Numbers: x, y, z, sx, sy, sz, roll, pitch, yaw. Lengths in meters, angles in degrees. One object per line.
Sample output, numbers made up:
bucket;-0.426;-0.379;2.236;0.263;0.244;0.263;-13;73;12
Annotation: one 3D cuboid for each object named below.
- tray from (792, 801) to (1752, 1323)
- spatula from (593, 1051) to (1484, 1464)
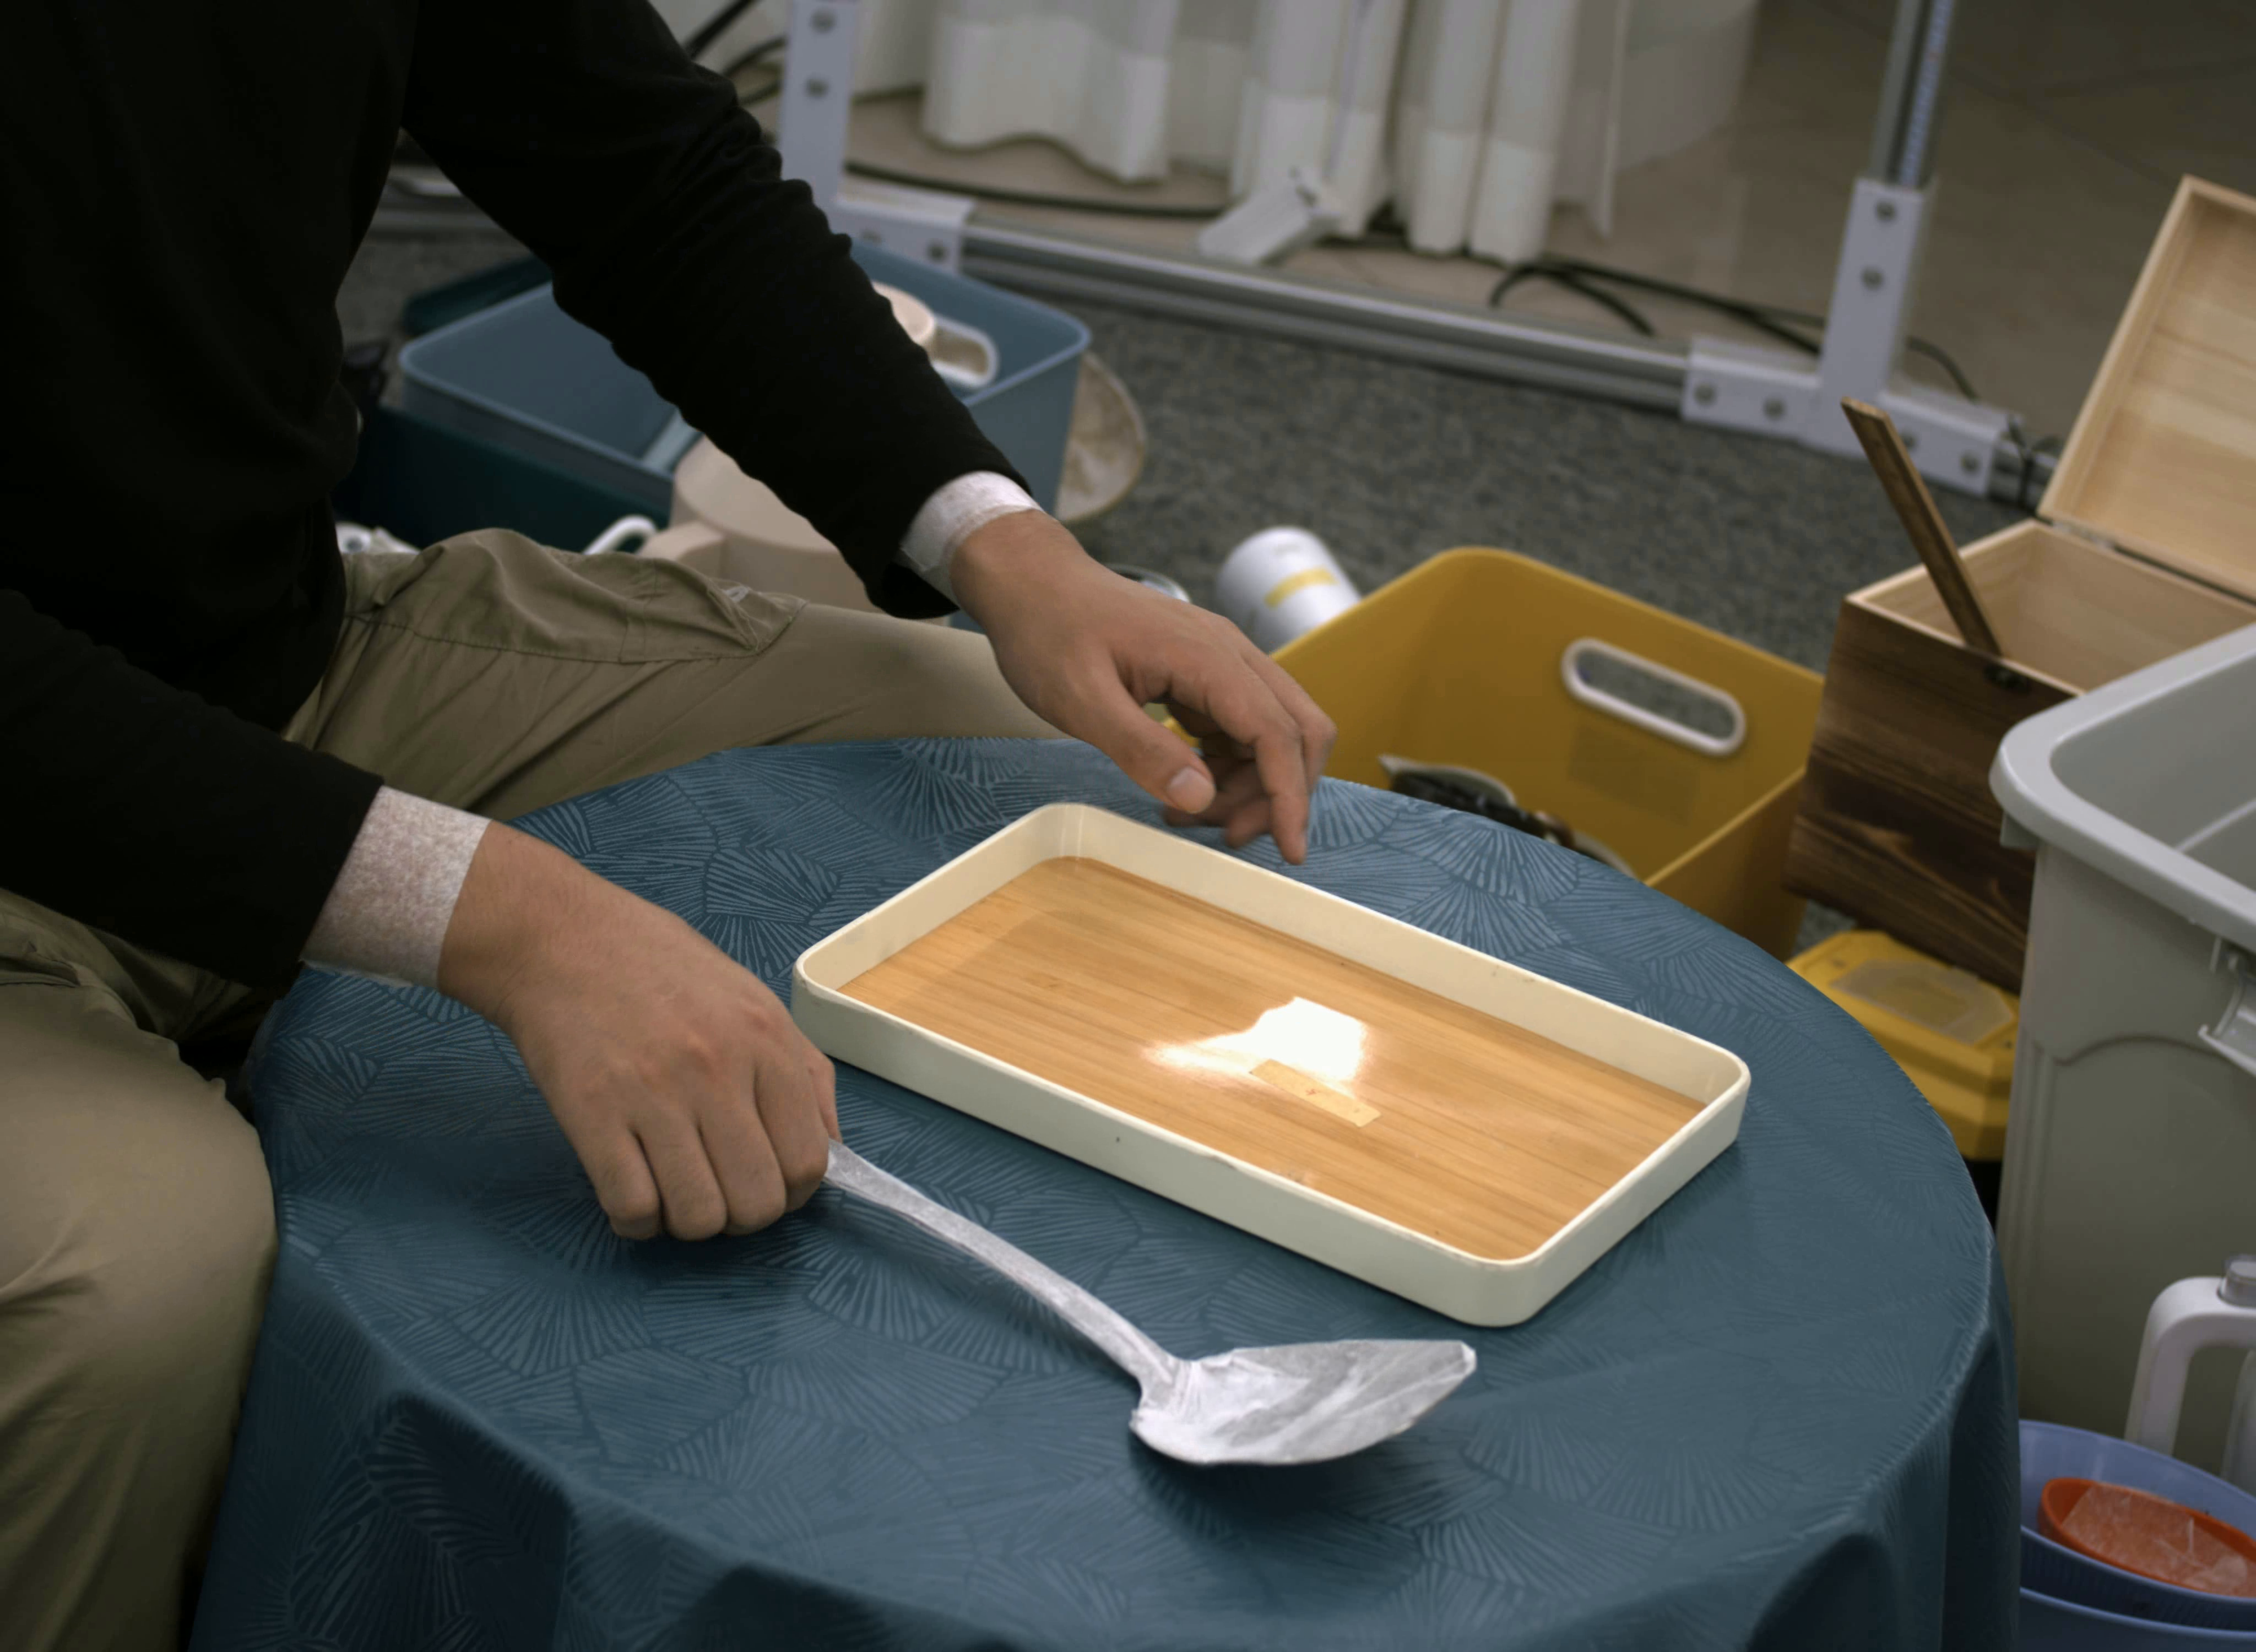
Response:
tray;0.050;0.078;1.872;0.302;0.027;0.191;21;30;27
spatula;-0.049;0.131;1.733;0.367;0.044;0.098;25;34;32
